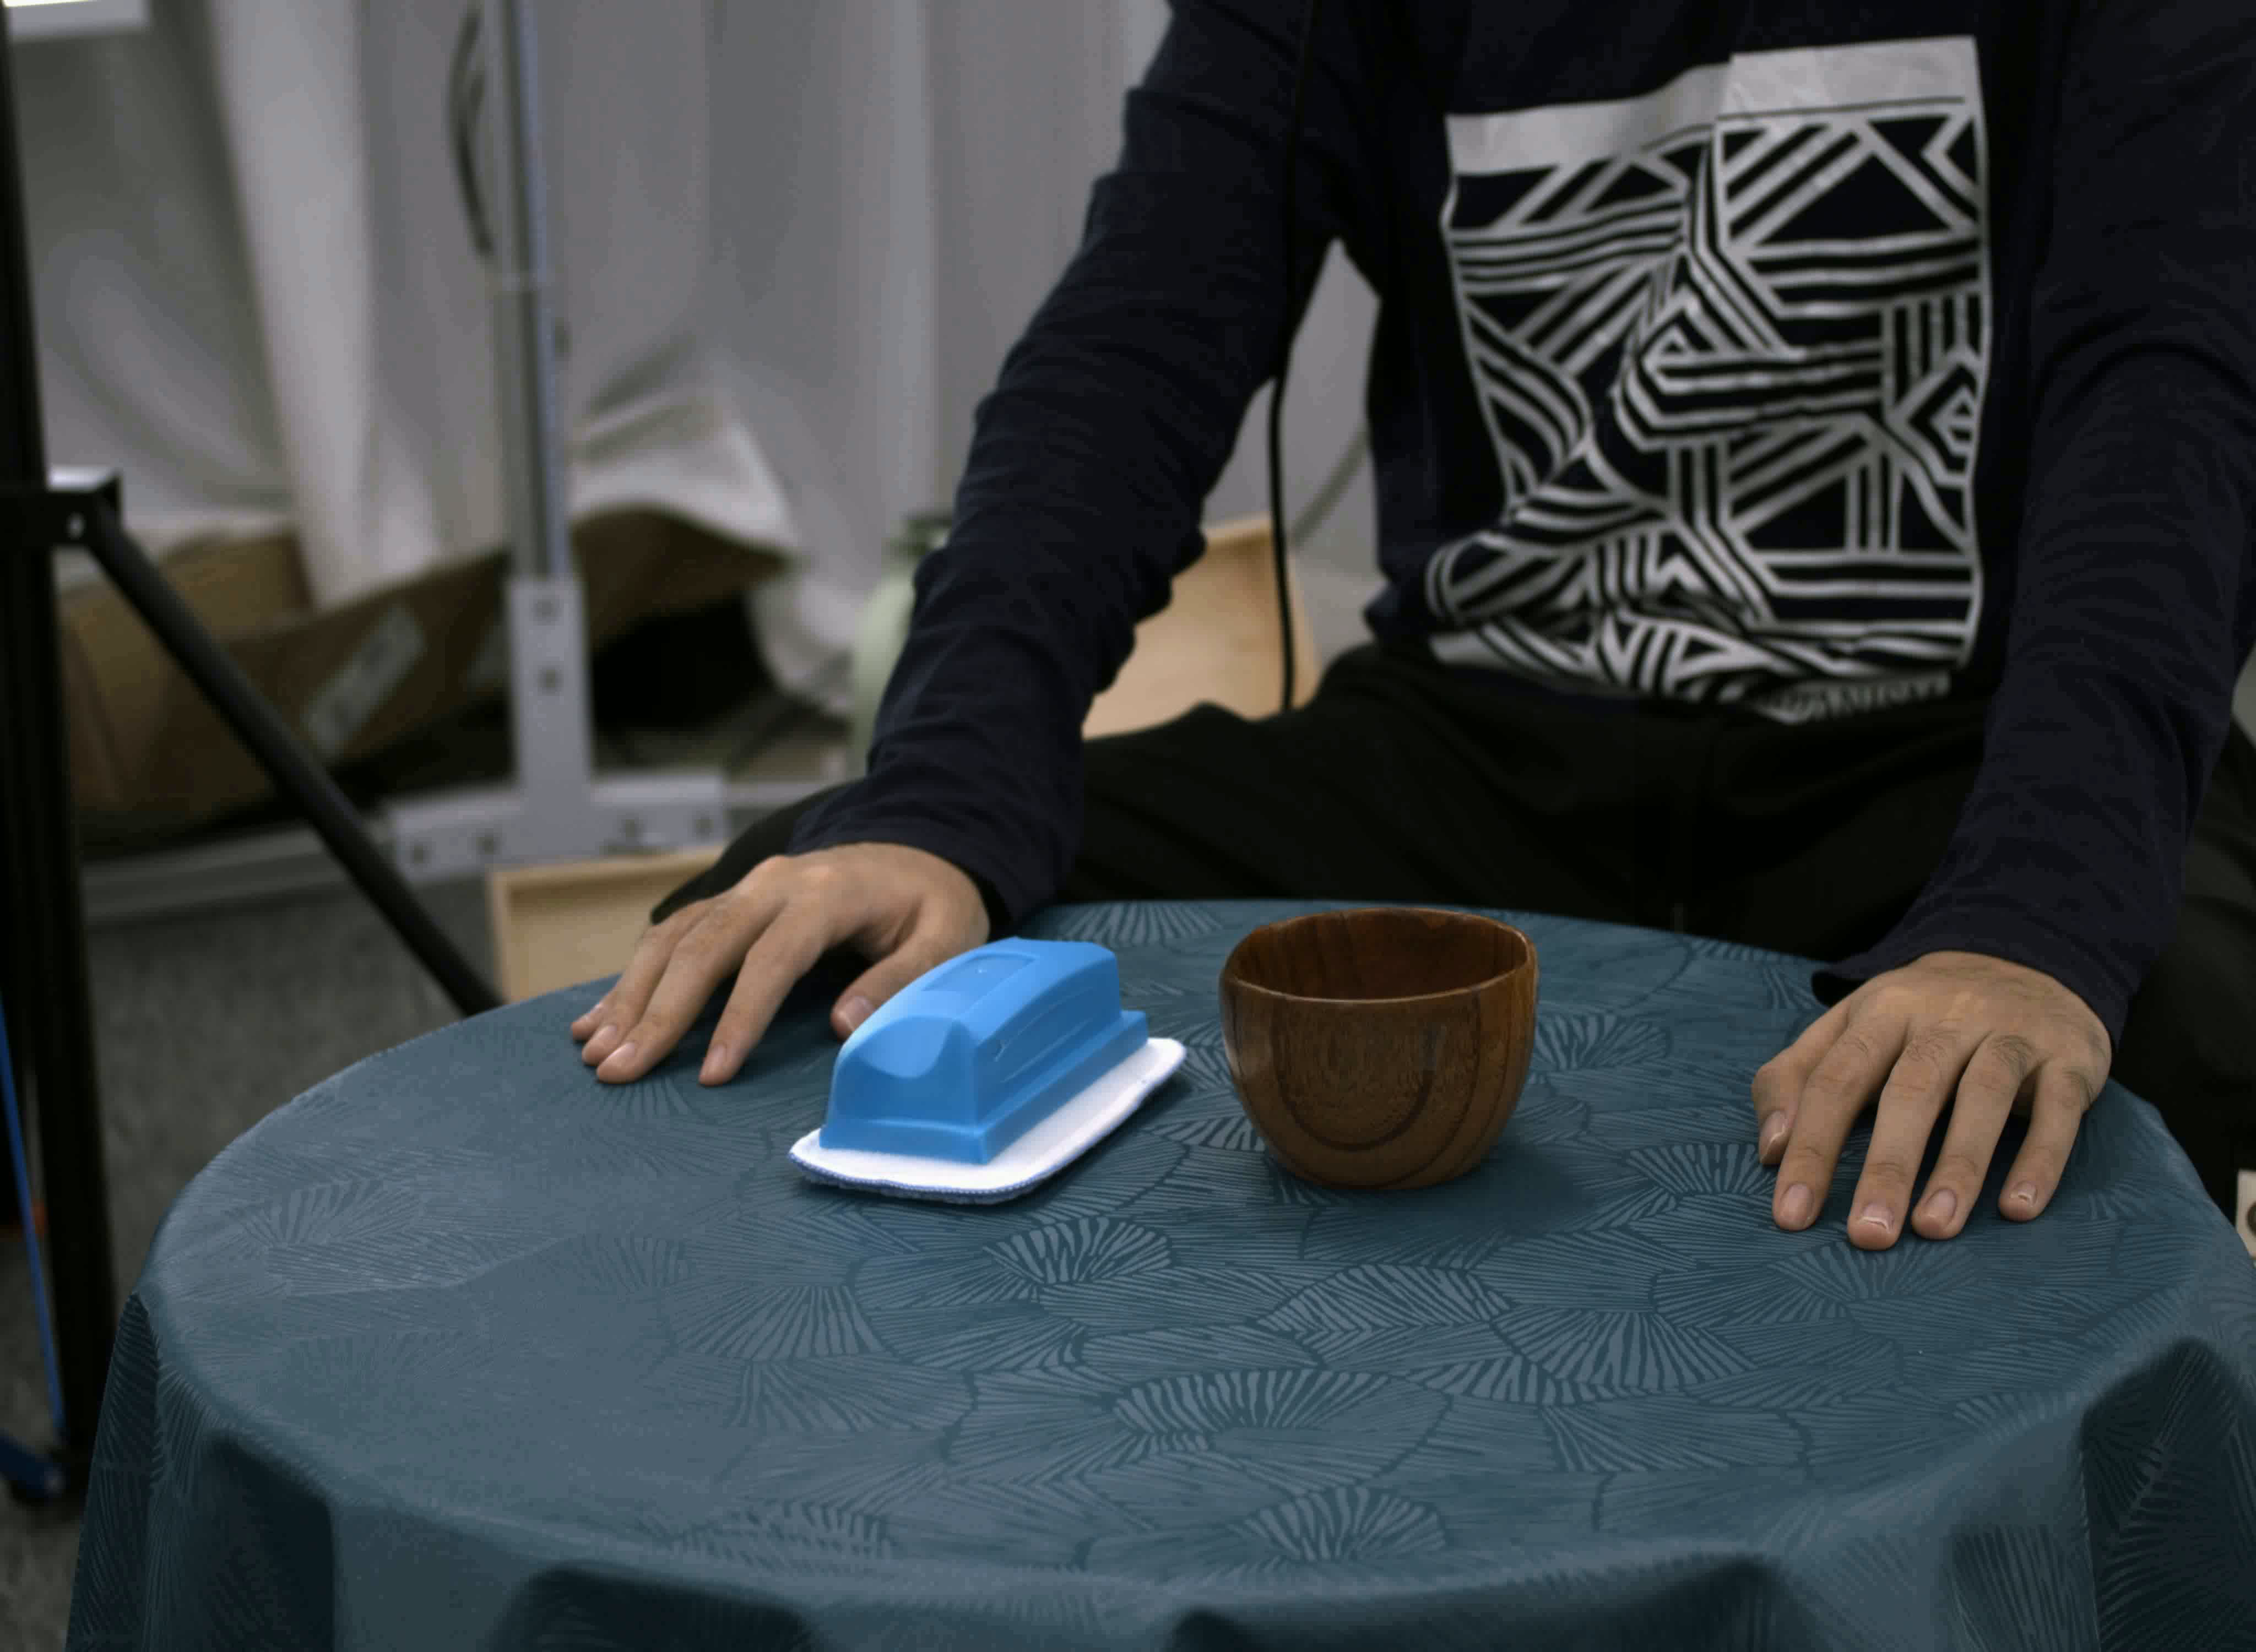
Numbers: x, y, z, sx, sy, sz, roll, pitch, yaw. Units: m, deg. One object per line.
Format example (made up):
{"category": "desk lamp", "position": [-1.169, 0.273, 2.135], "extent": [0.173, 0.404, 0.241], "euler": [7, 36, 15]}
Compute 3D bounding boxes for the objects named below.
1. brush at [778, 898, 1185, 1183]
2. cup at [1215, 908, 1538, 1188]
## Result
{"category": "brush", "position": [-0.043, 0.061, 1.620], "extent": [0.085, 0.056, 0.142], "euler": [9, 22, 25]}
{"category": "cup", "position": [0.080, 0.065, 1.581], "extent": [0.097, 0.068, 0.118], "euler": [1, 13, 24]}
